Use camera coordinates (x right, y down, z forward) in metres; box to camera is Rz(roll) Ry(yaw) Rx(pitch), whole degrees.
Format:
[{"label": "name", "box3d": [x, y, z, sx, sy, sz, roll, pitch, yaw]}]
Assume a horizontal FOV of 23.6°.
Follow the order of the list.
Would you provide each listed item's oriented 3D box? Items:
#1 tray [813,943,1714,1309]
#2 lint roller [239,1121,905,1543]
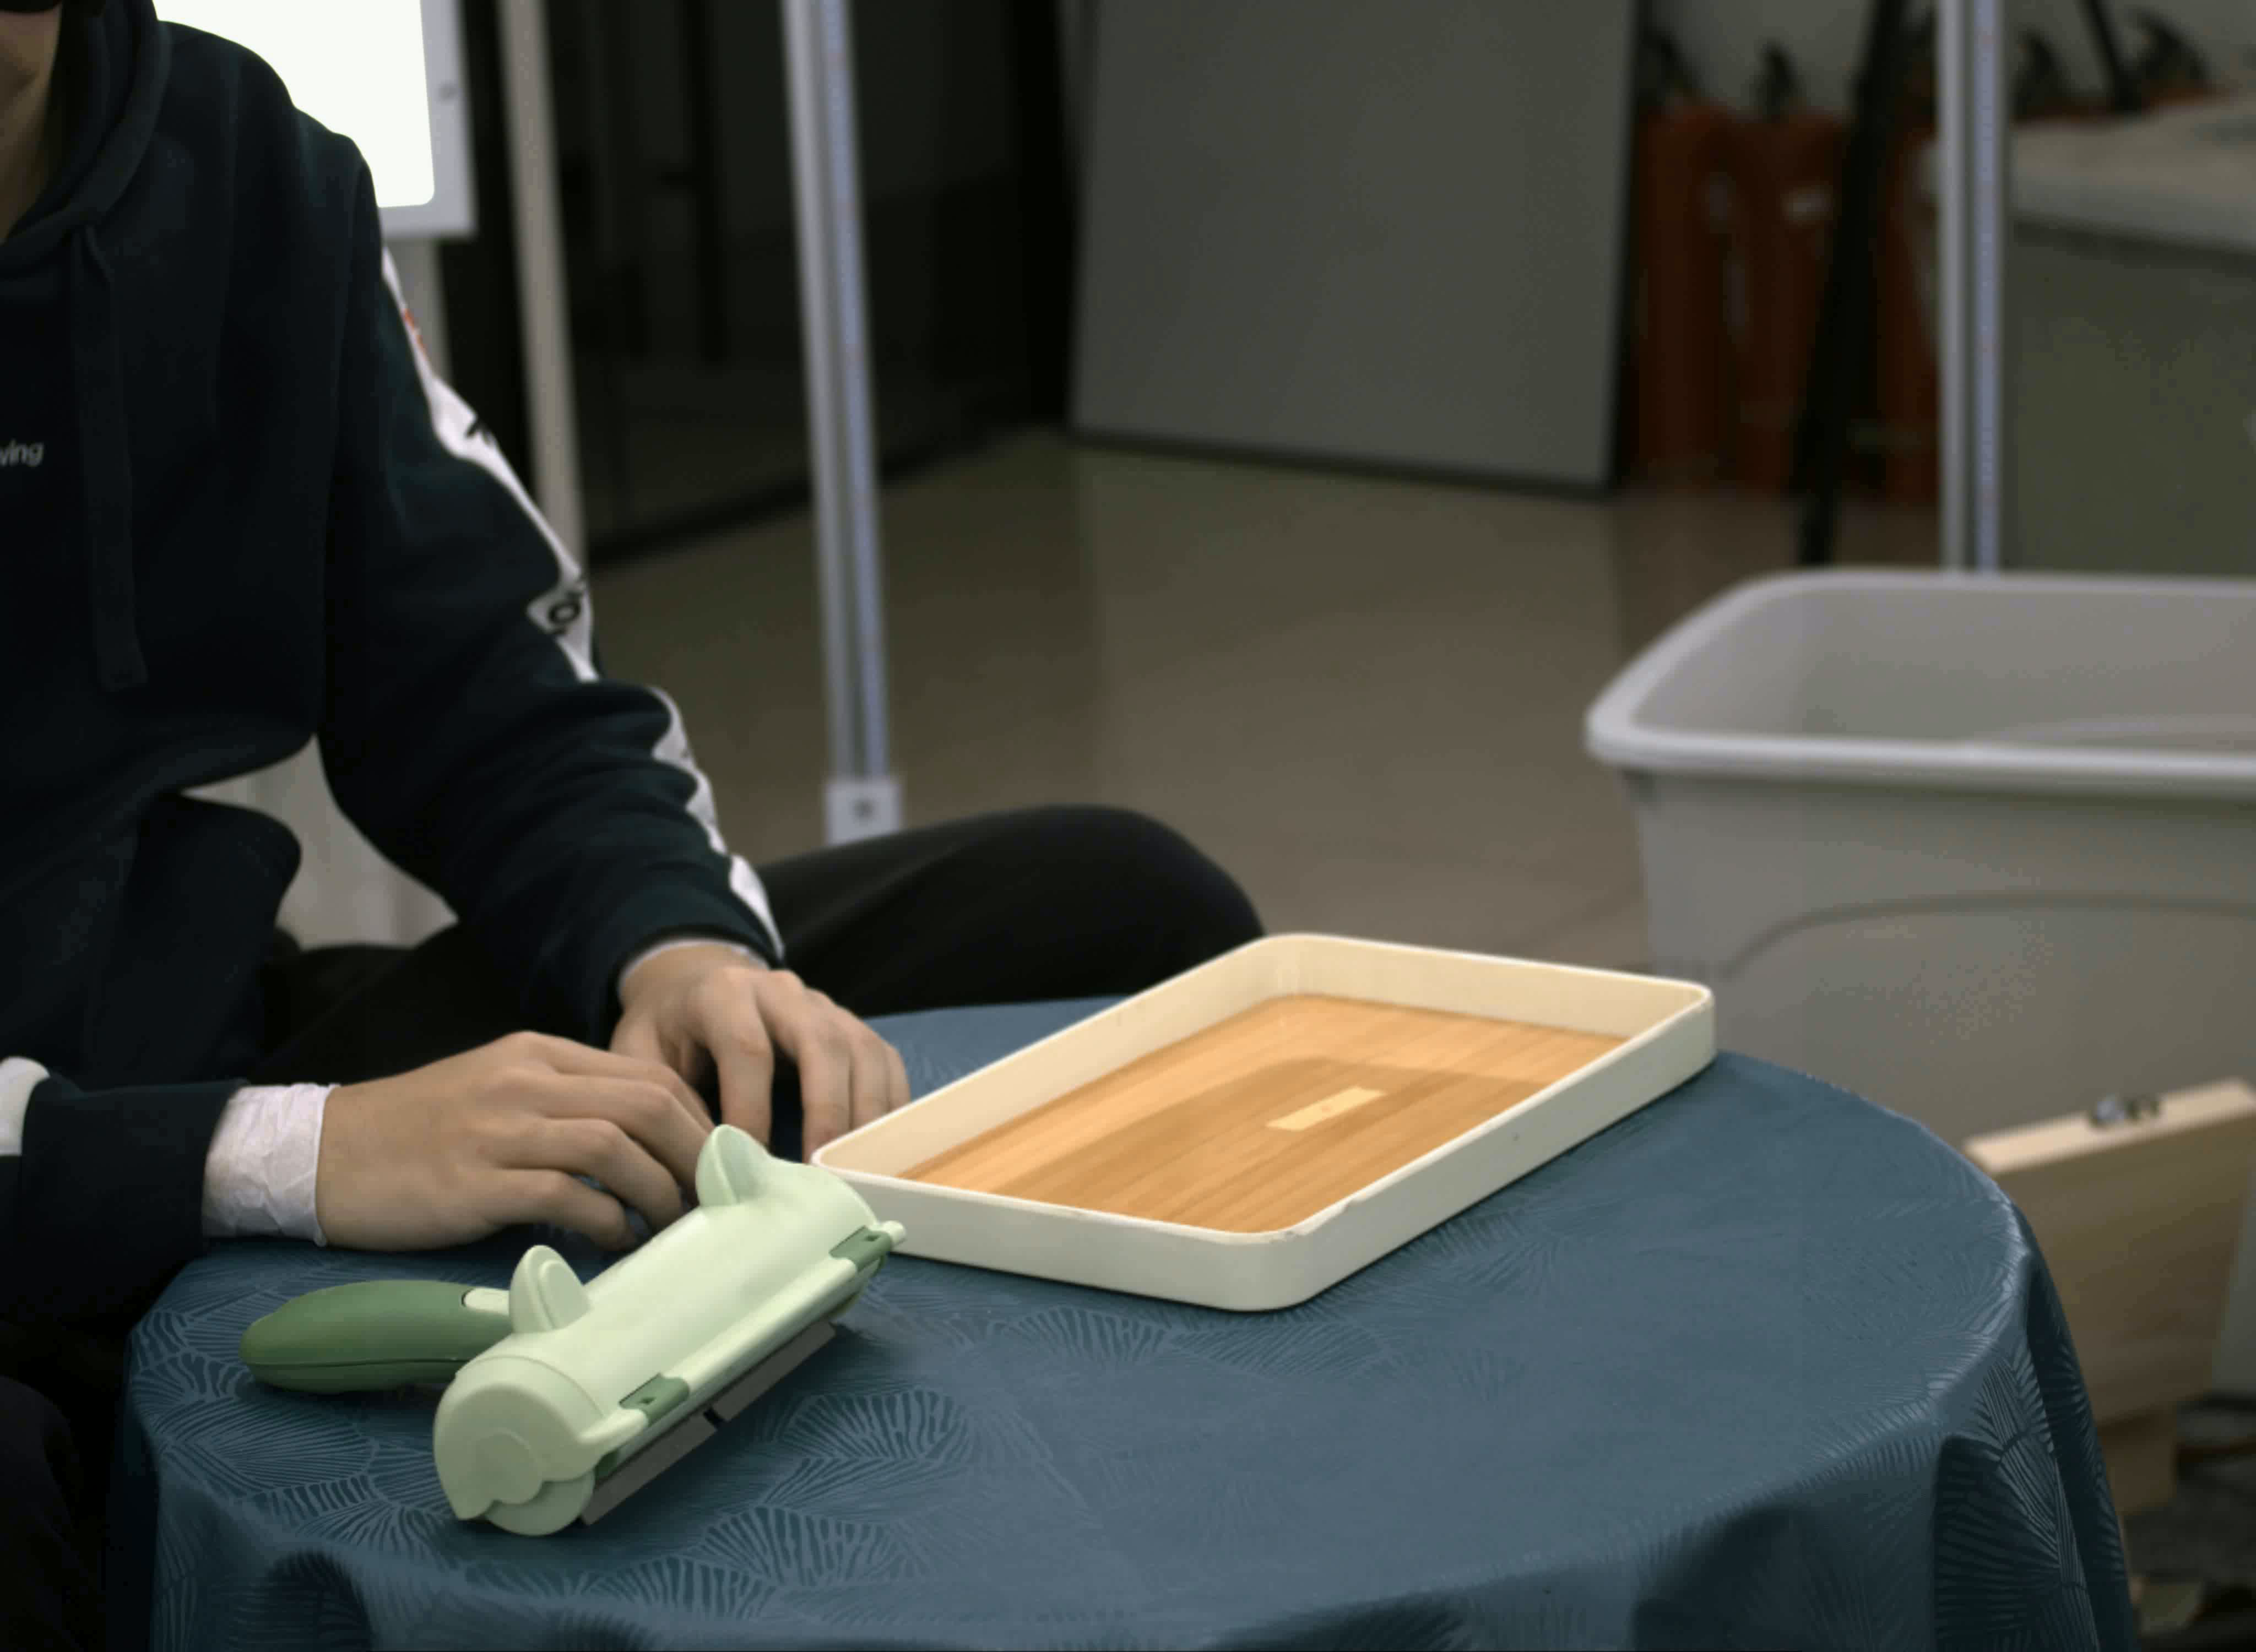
[{"label": "tray", "box3d": [0.050, 0.096, 1.803, 0.193, 0.028, 0.295, 5, 16, 35]}, {"label": "lint roller", "box3d": [-0.185, 0.138, 1.602, 0.183, 0.083, 0.196, 7, 17, 23]}]
